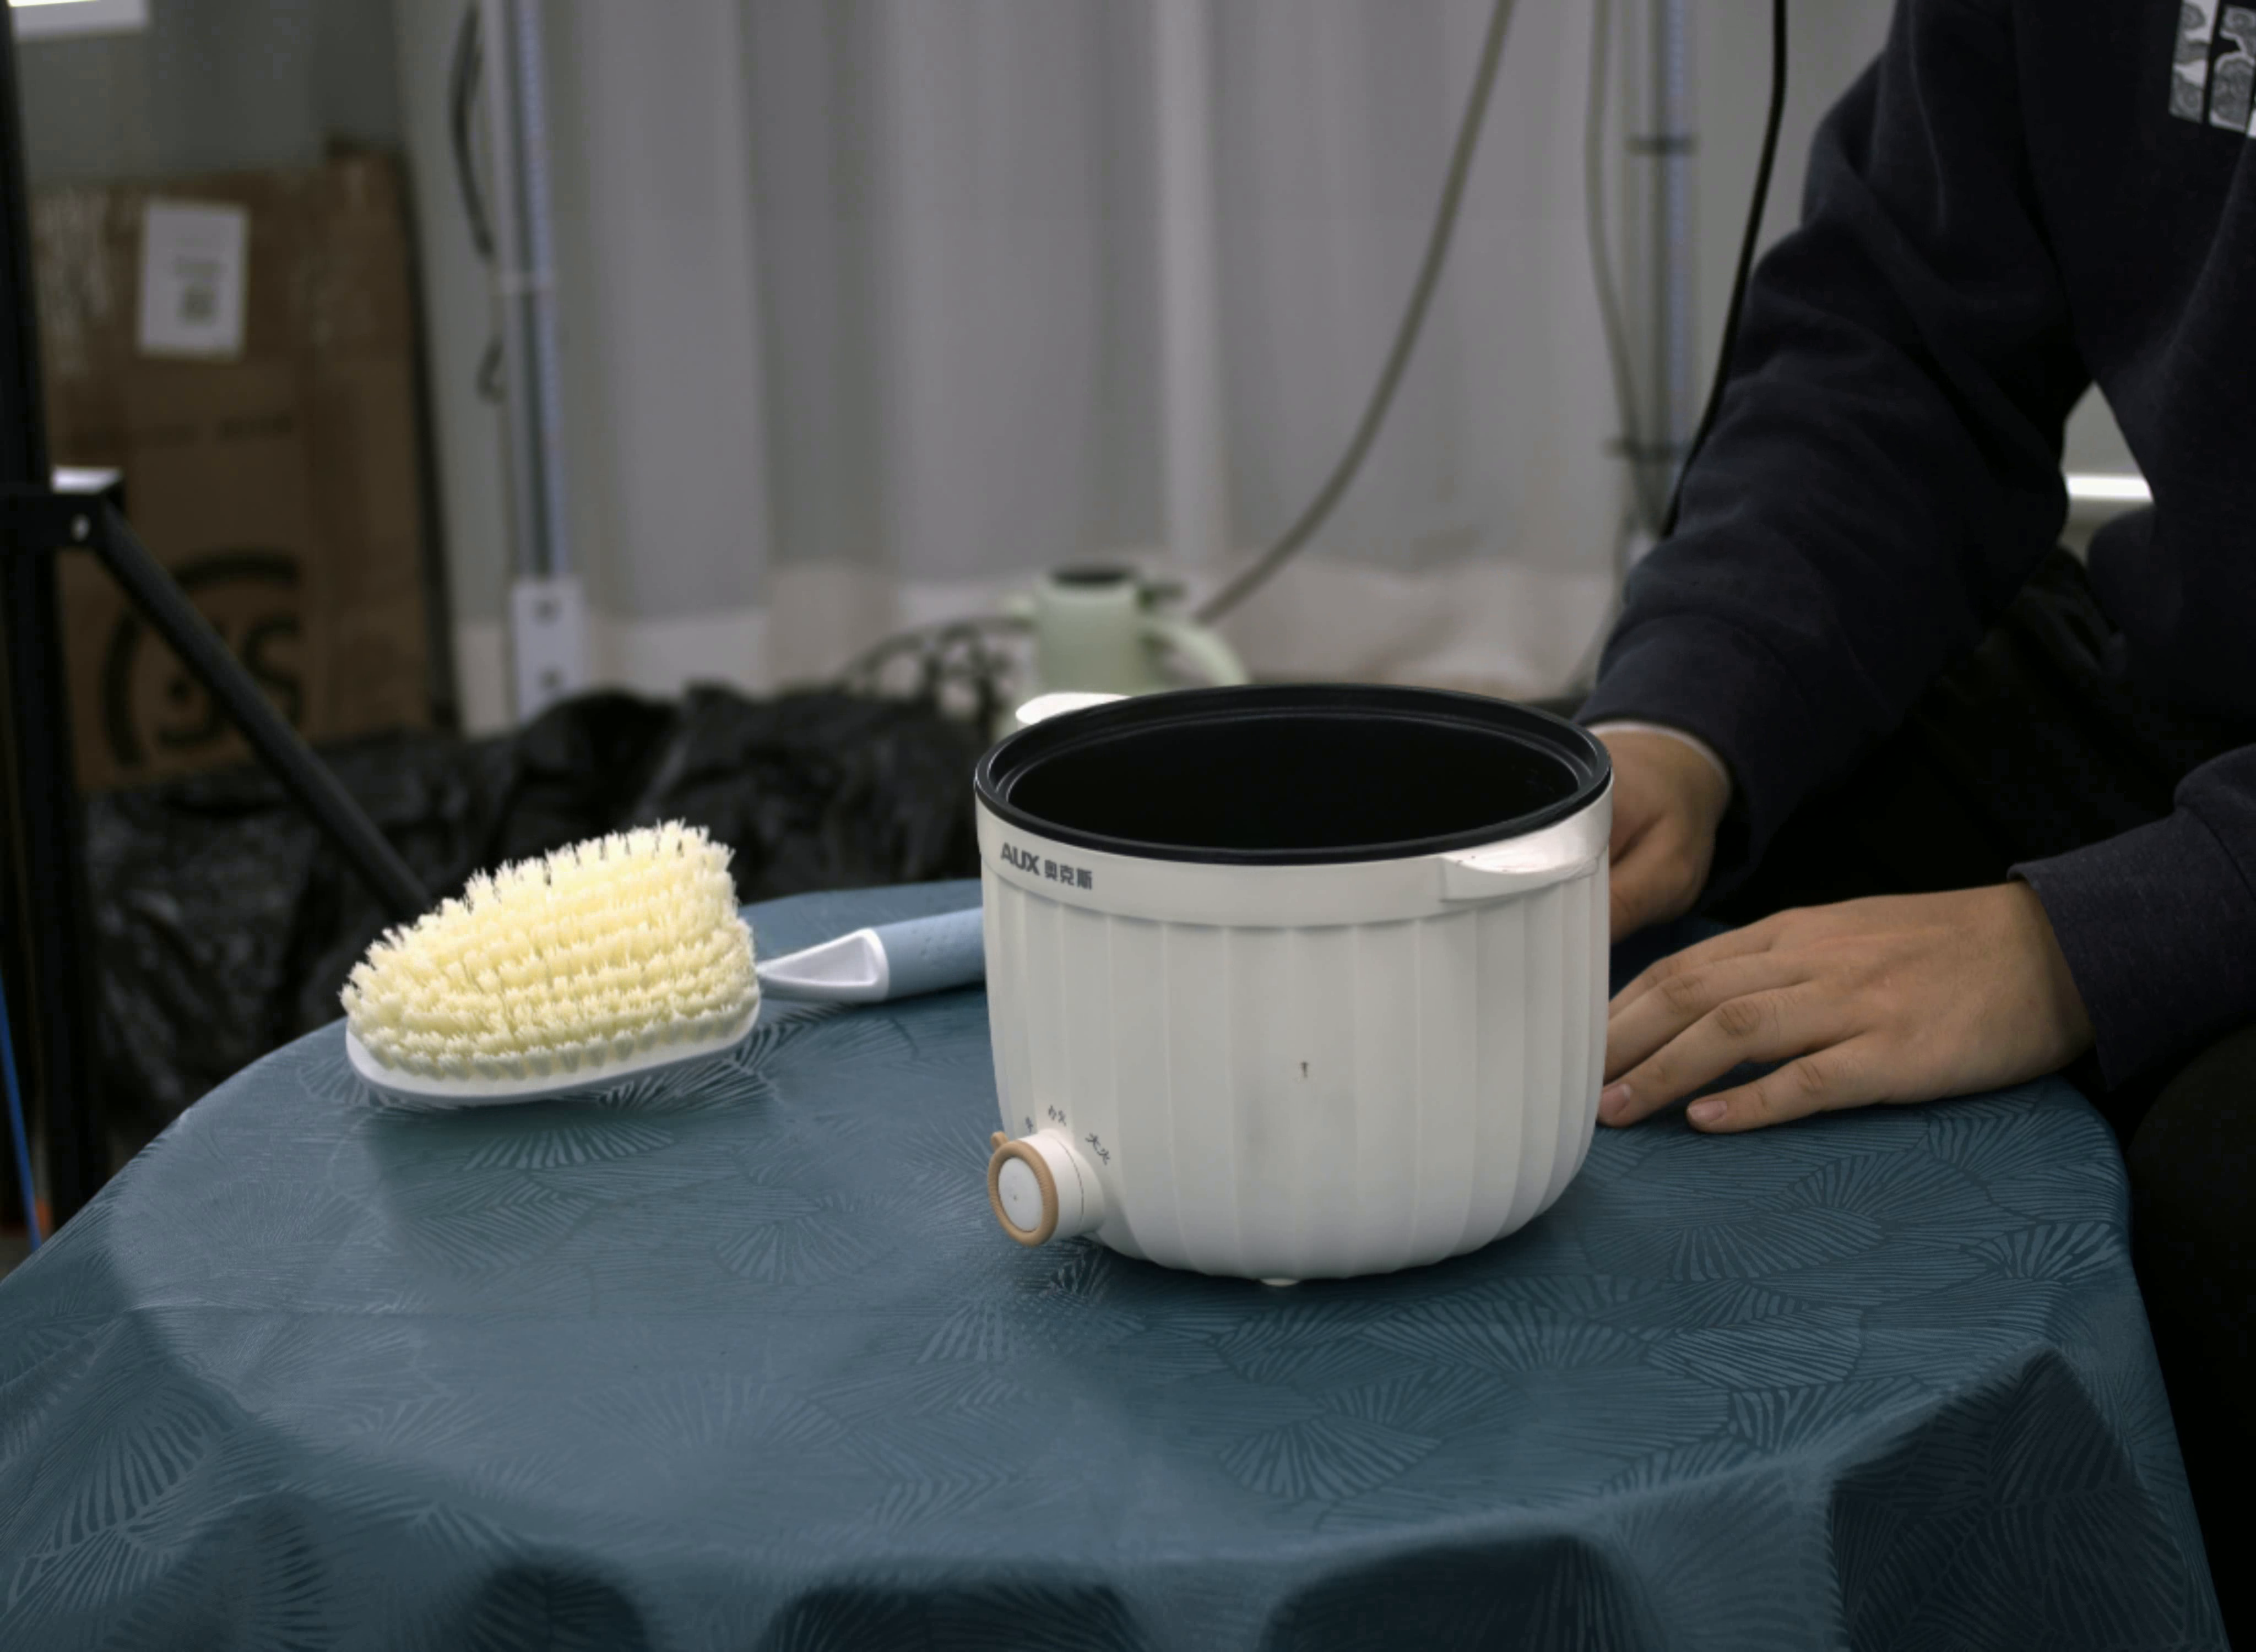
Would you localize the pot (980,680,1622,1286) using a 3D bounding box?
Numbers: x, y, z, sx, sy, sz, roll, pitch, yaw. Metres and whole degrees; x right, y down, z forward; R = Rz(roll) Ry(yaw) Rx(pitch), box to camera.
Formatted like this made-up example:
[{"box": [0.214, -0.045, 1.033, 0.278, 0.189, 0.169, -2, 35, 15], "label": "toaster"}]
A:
[{"box": [0.046, 0.047, 1.513, 0.186, 0.143, 0.246, -9, 16, -35], "label": "pot"}]

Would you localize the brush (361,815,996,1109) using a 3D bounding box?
[{"box": [-0.090, 0.028, 1.704, 0.319, 0.083, 0.086, -11, 14, -24], "label": "brush"}]
